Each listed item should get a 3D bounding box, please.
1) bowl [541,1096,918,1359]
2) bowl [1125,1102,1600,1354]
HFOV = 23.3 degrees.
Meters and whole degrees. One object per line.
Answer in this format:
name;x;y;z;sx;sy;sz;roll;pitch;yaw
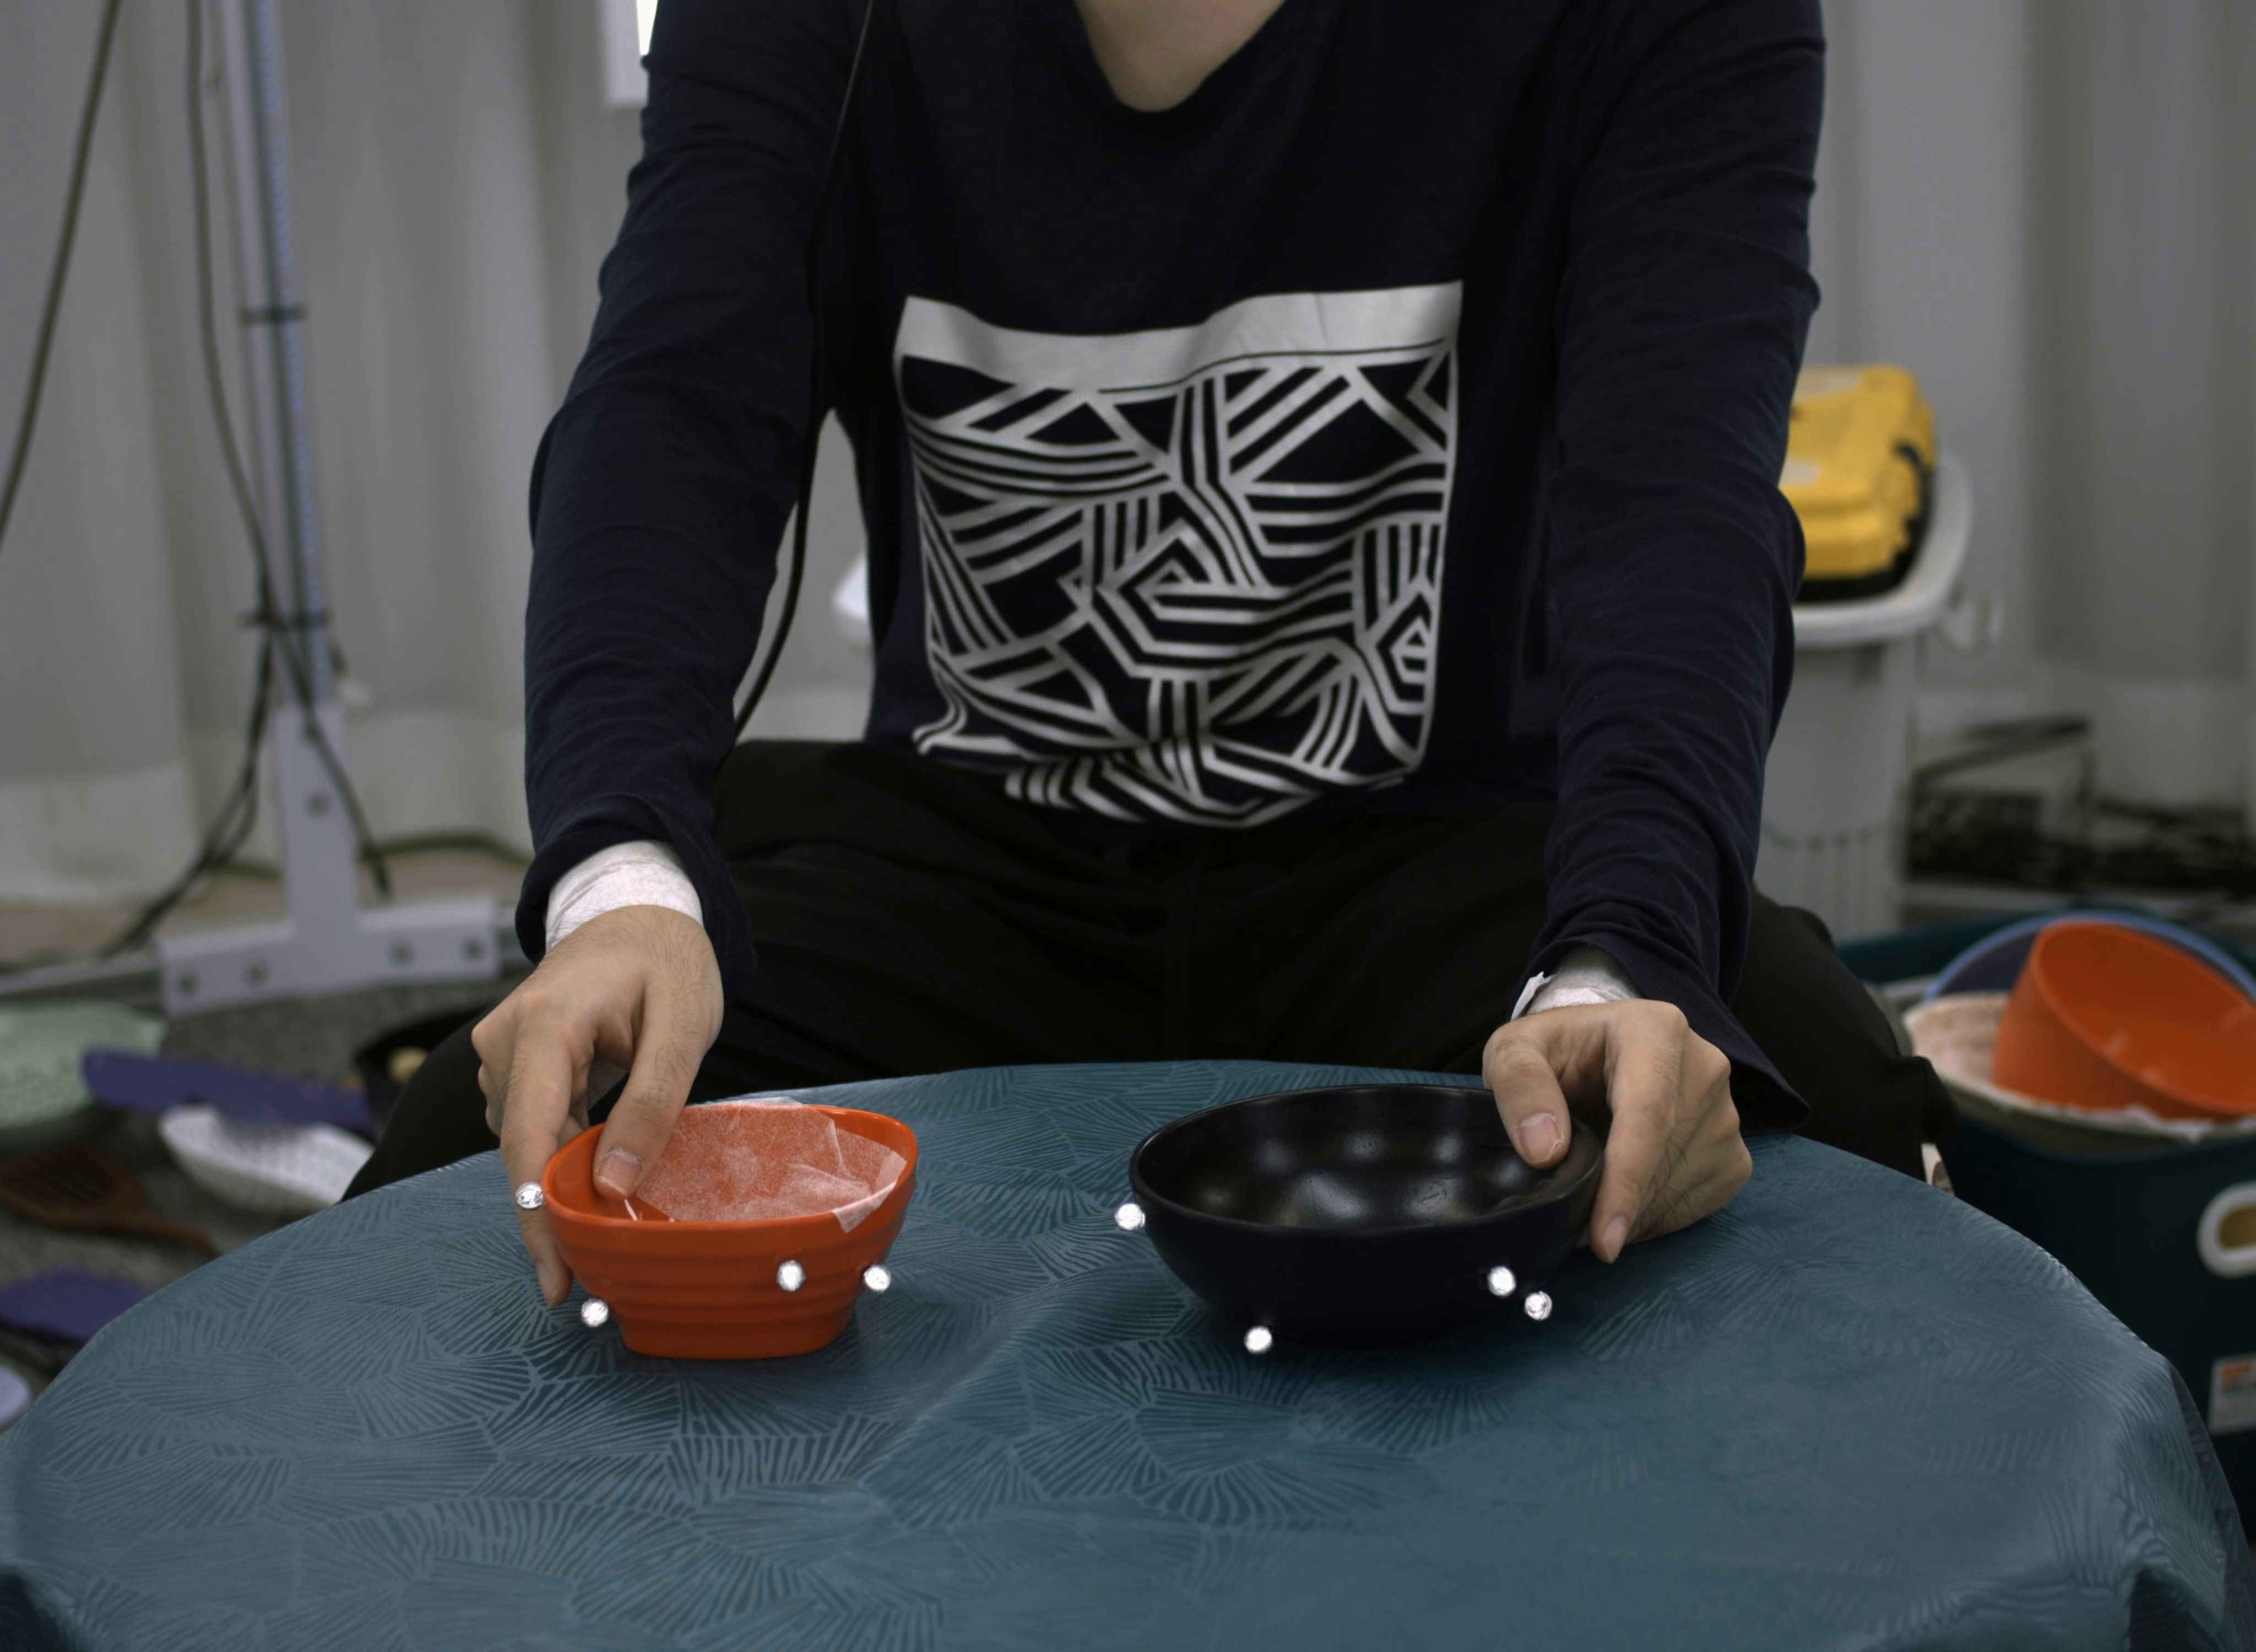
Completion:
bowl;-0.115;0.121;1.612;0.118;0.051;0.120;-4;16;1
bowl;0.069;0.121;1.595;0.139;0.049;0.141;-2;11;0
